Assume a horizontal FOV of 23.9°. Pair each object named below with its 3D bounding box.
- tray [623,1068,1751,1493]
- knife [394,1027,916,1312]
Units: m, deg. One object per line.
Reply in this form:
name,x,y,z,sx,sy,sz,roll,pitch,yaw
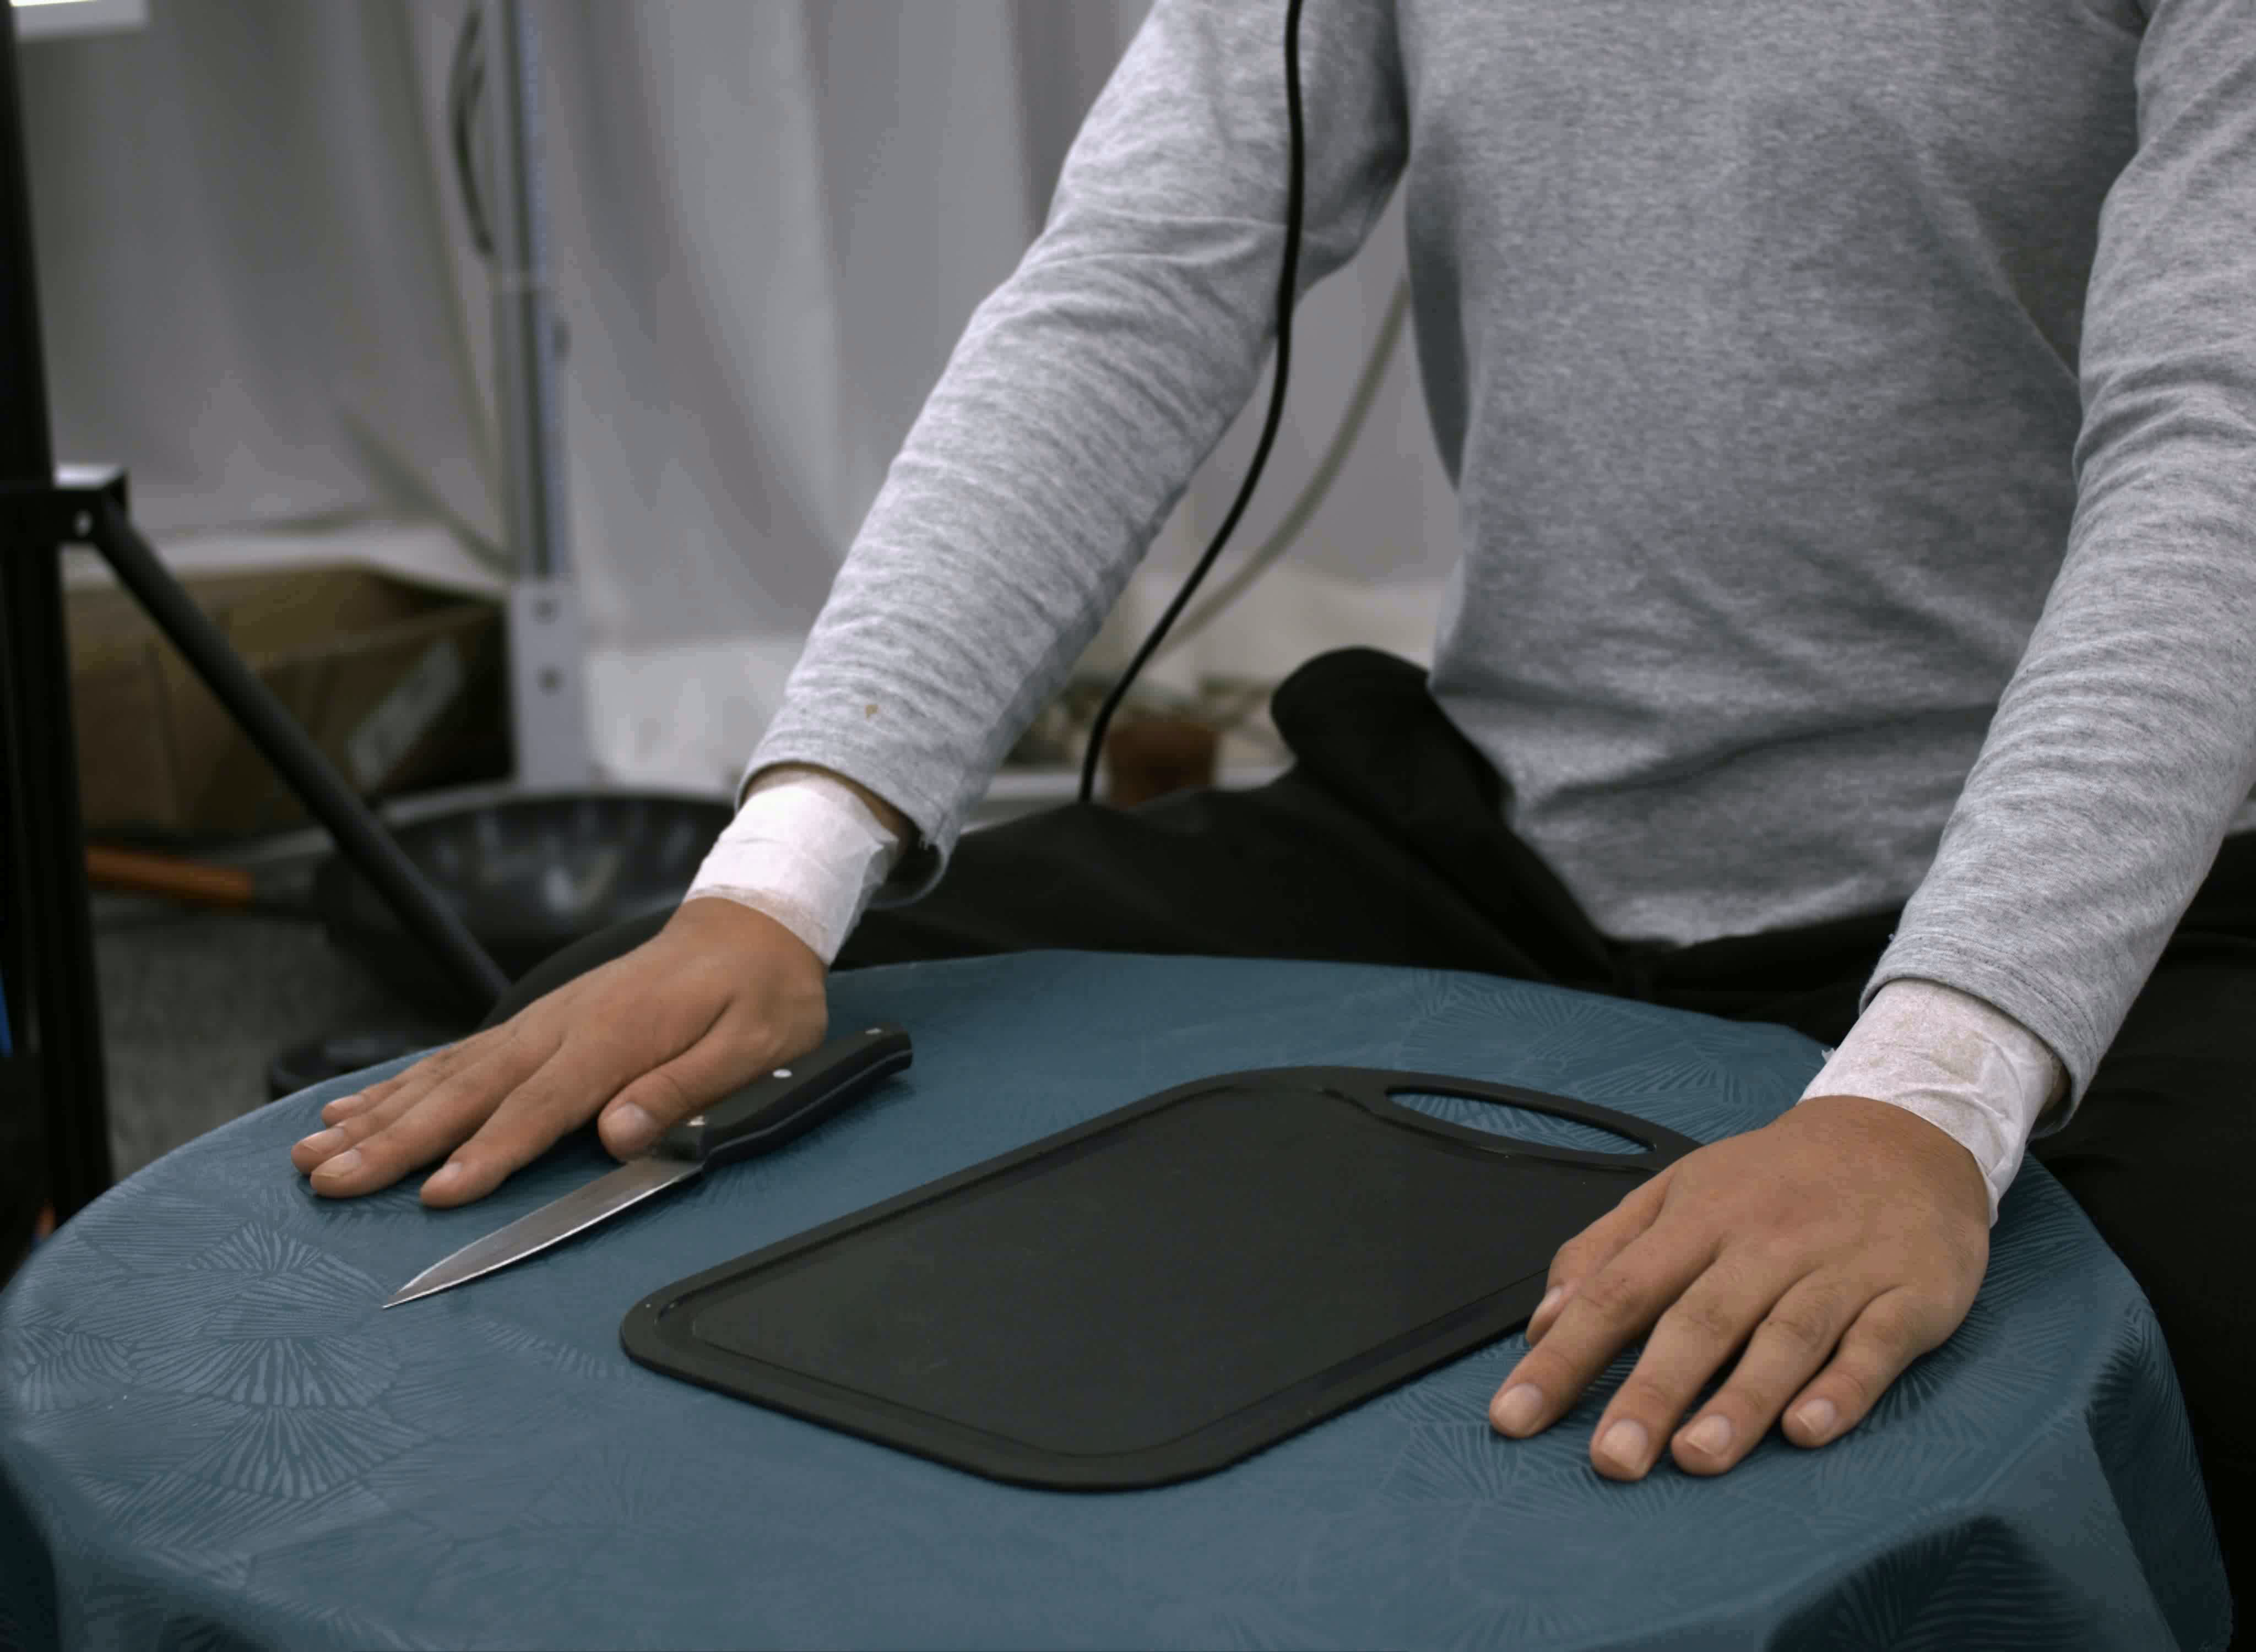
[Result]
tray,0.026,0.119,1.507,0.216,0.010,0.318,12,21,42
knife,-0.140,0.102,1.585,0.025,0.016,0.233,7,21,35
